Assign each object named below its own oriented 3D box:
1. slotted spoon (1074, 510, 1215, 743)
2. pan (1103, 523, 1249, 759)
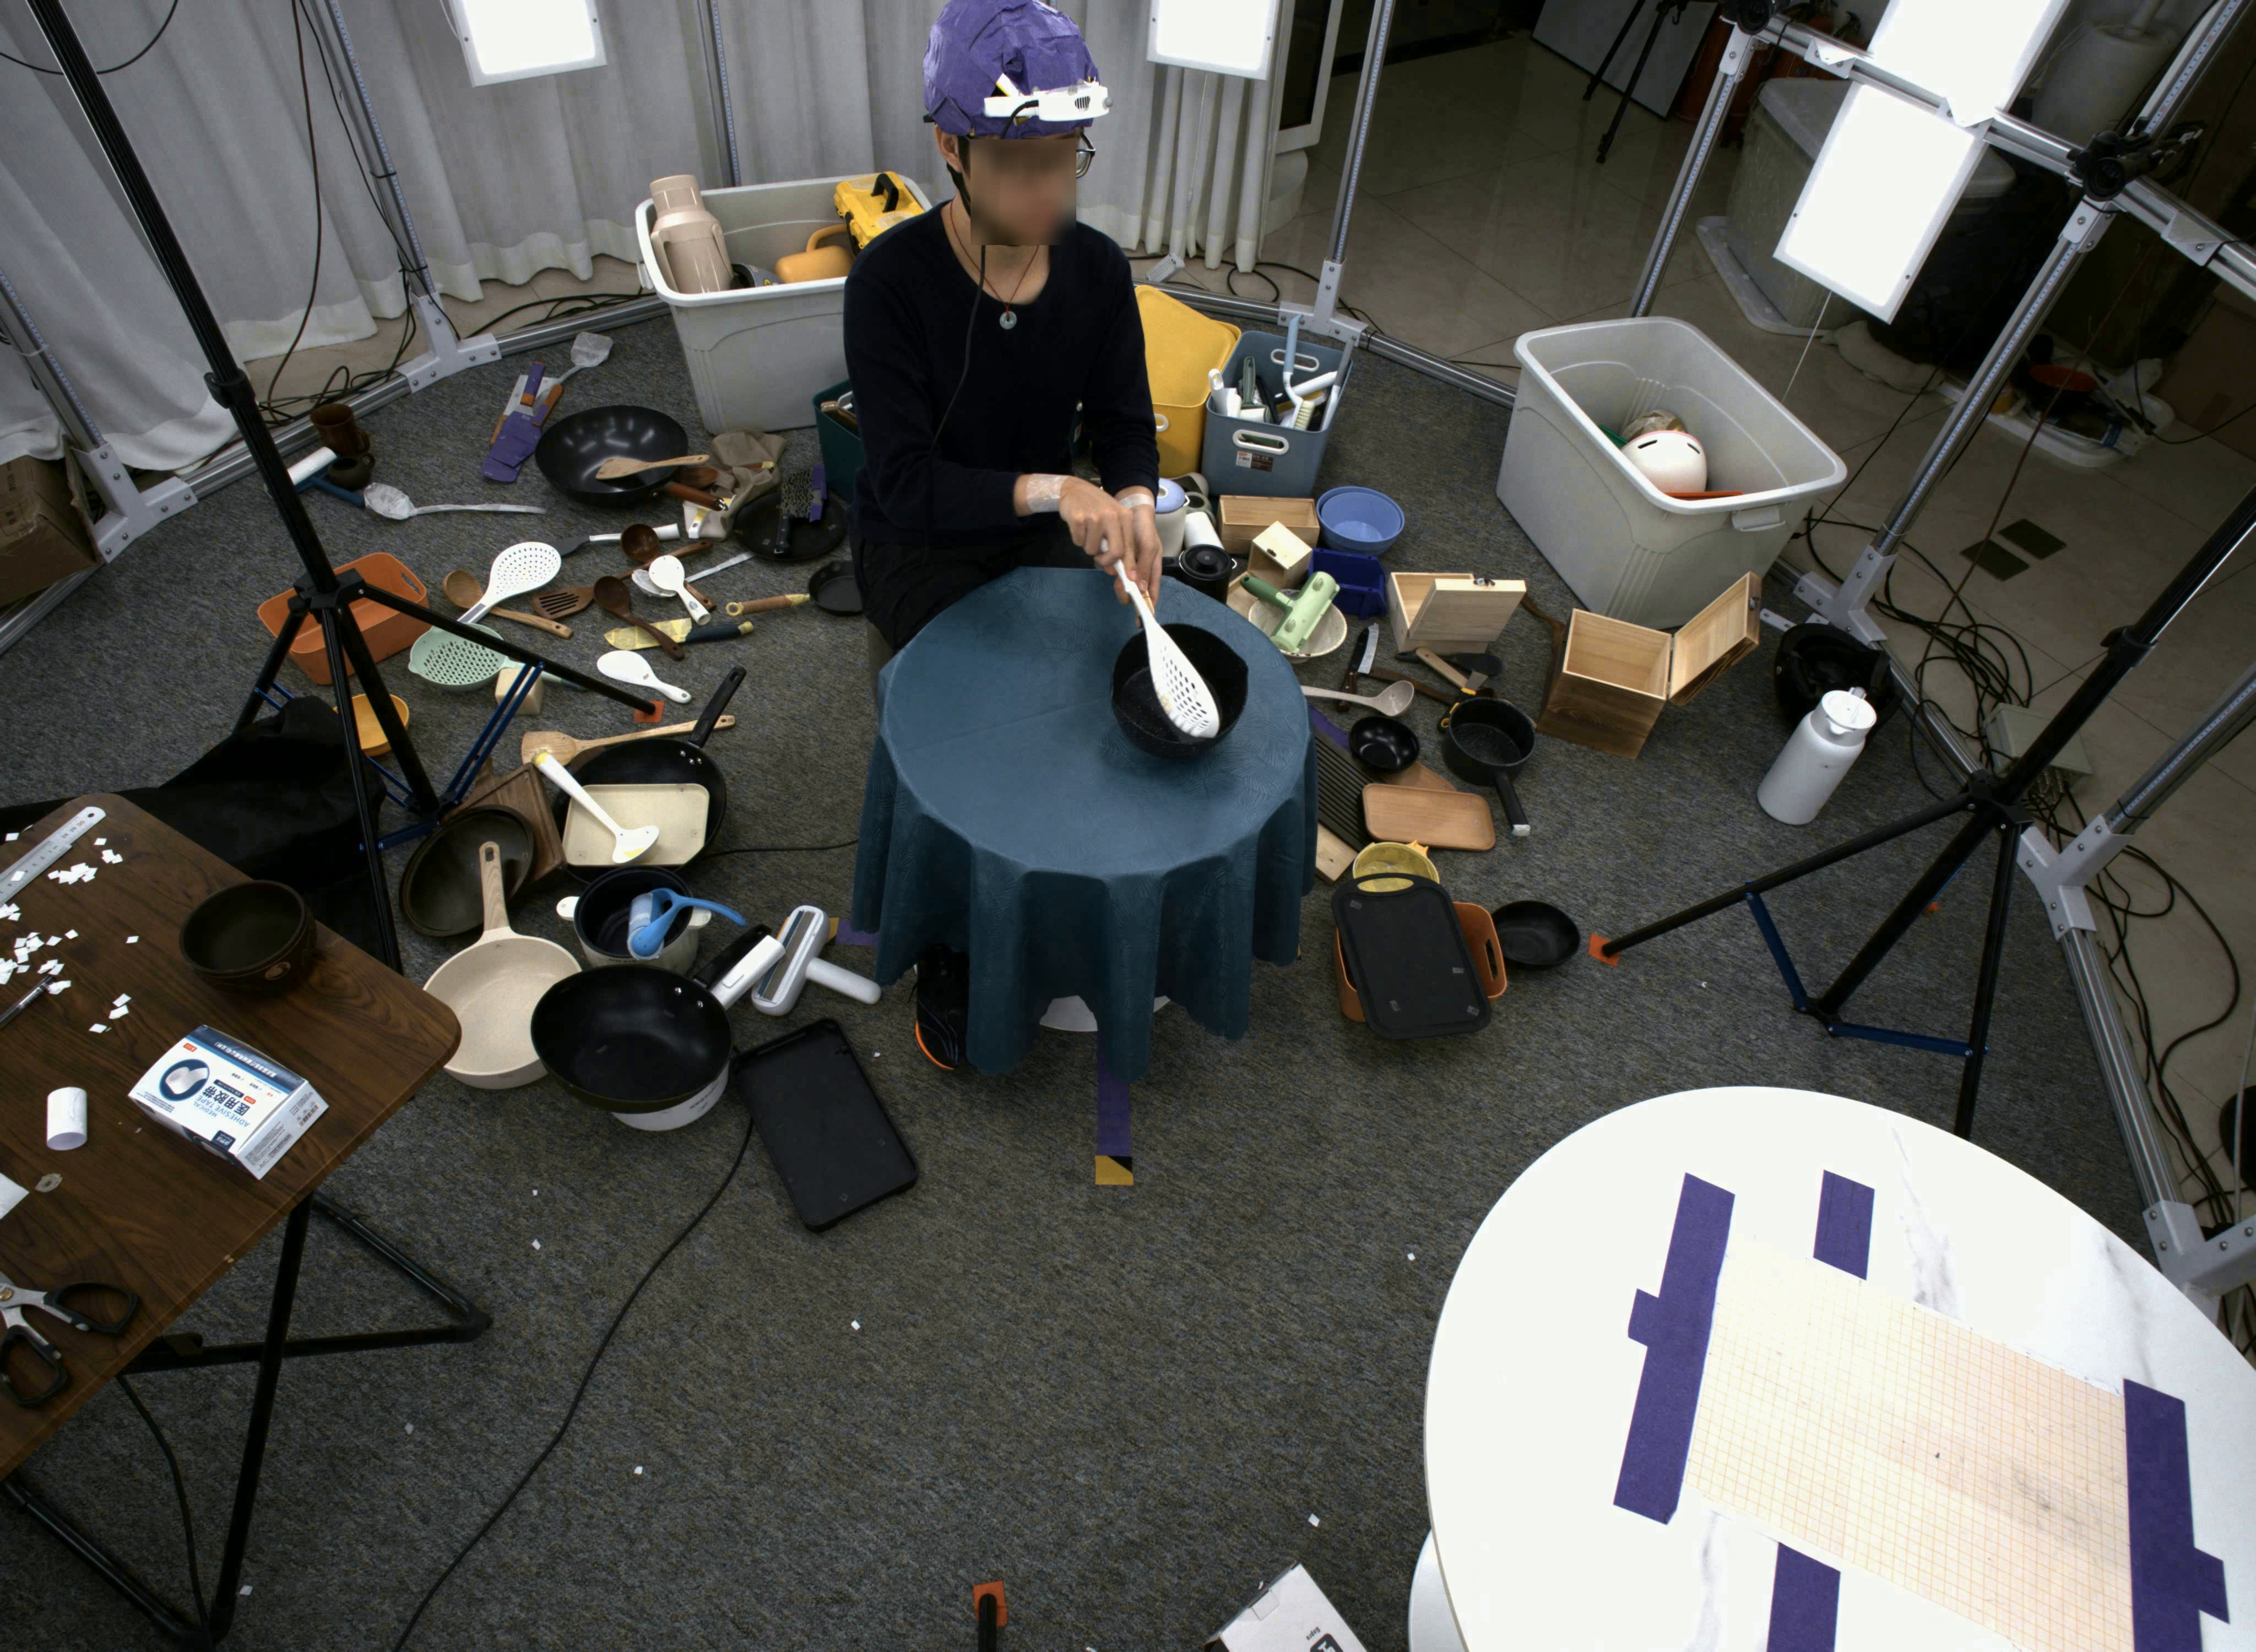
[{"bbox_3d":[0.018,-0.263,1.691,0.050,0.135,0.350,-21,83,-14],"label":"slotted spoon"},{"bbox_3d":[0.036,-0.250,1.767,0.207,0.106,0.348,-18,70,-14],"label":"pan"}]
